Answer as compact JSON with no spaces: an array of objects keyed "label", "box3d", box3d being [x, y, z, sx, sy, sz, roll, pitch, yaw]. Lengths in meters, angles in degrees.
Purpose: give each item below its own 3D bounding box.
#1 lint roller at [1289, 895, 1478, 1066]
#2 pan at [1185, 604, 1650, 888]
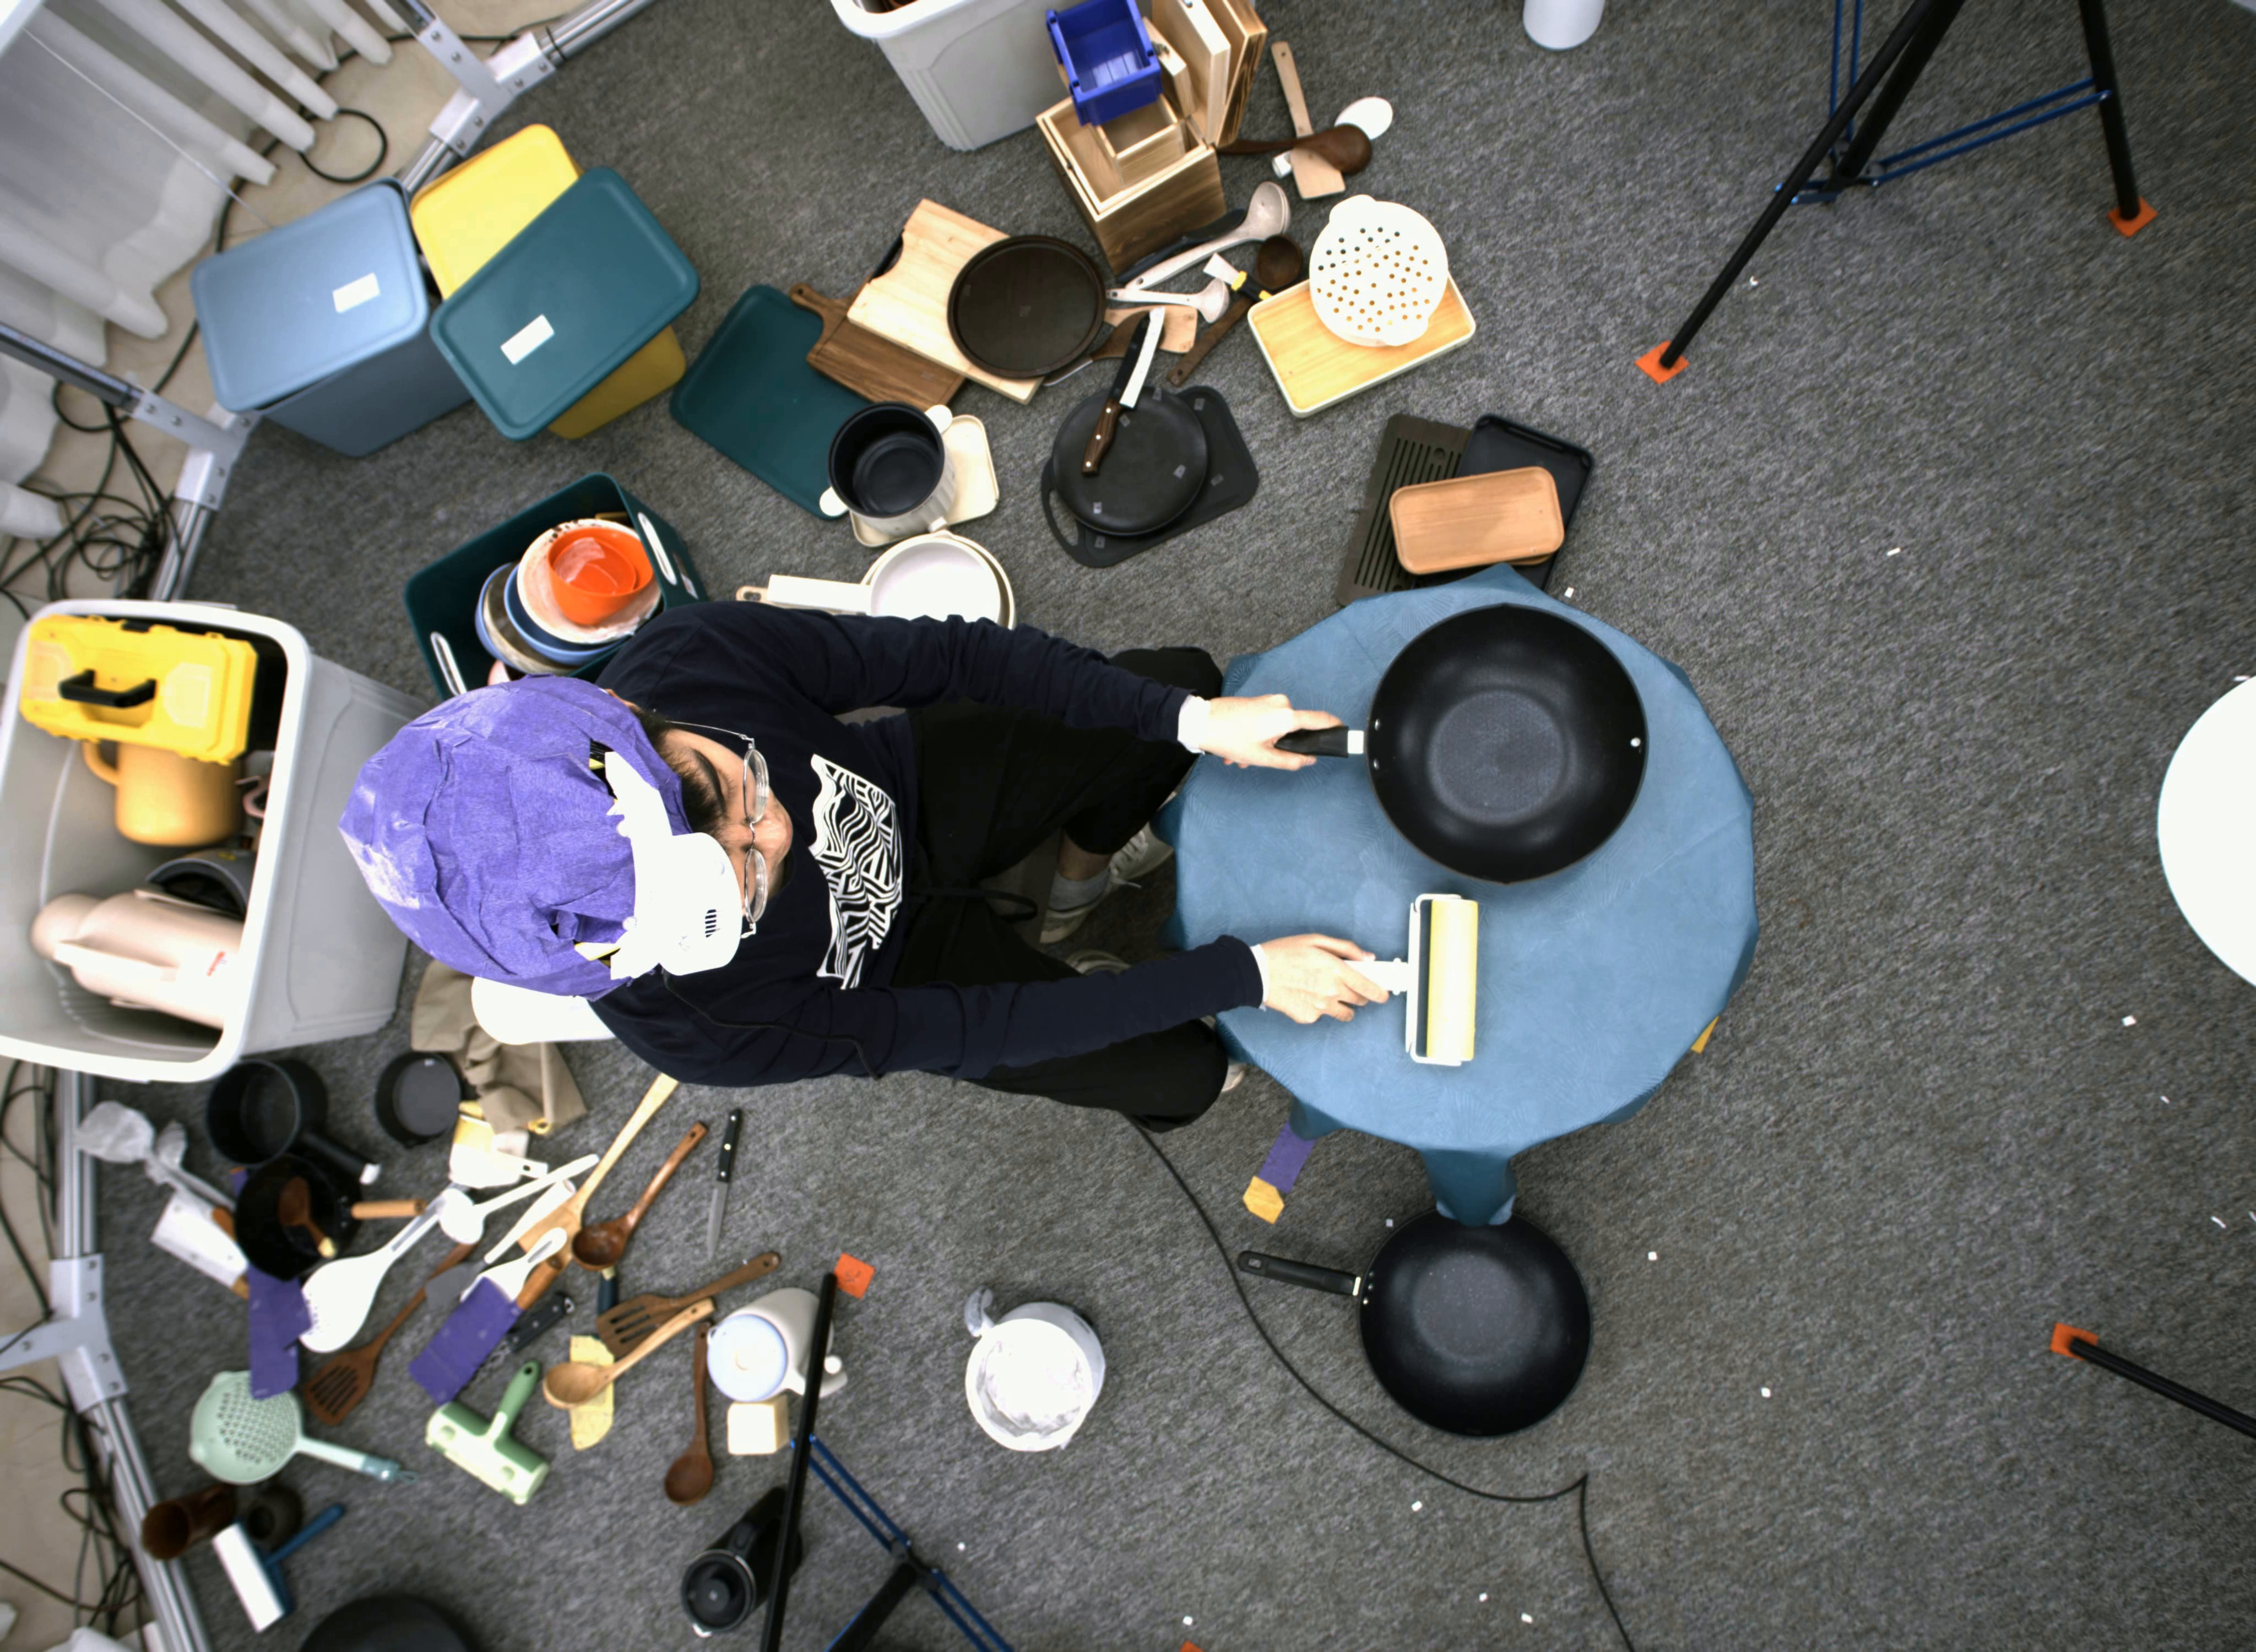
[{"label":"lint roller","box3d":[0.263,0.155,1.425,0.192,0.051,0.173,1,86,5]},{"label":"pan","box3d":[0.293,-0.081,1.422,0.465,0.087,0.287,1,86,11]}]
